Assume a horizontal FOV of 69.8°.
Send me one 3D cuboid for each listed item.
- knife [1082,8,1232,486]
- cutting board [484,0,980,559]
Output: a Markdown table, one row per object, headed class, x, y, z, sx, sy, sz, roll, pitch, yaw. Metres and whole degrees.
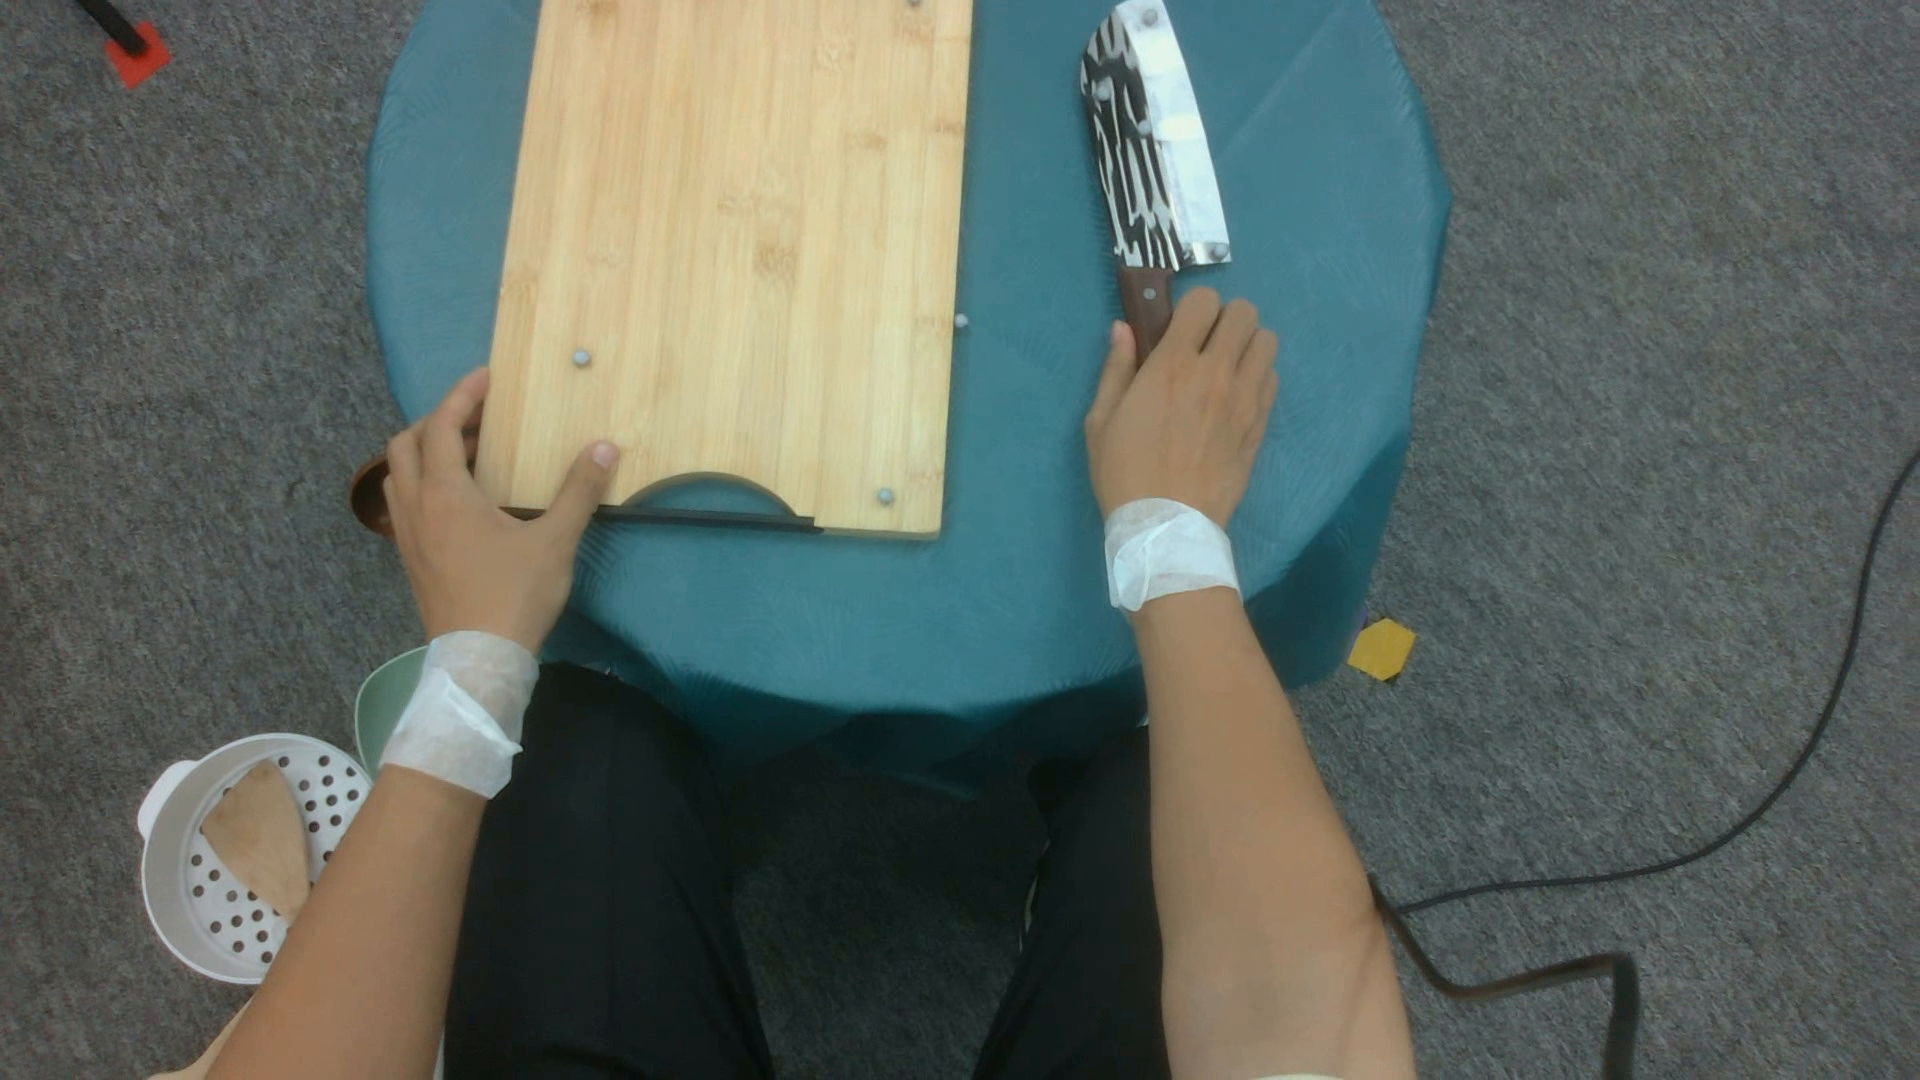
| class | x | y | z | sx | sy | sz | roll | pitch | yaw |
| --- | --- | --- | --- | --- | --- | --- | --- | --- | --- |
| knife | 0.117 | -0.174 | 0.781 | 0.068 | 0.024 | 0.300 | -7 | 73 | -7 |
| cutting board | -0.119 | -0.165 | 0.771 | 0.251 | 0.023 | 0.349 | 2 | 76 | -1 |
